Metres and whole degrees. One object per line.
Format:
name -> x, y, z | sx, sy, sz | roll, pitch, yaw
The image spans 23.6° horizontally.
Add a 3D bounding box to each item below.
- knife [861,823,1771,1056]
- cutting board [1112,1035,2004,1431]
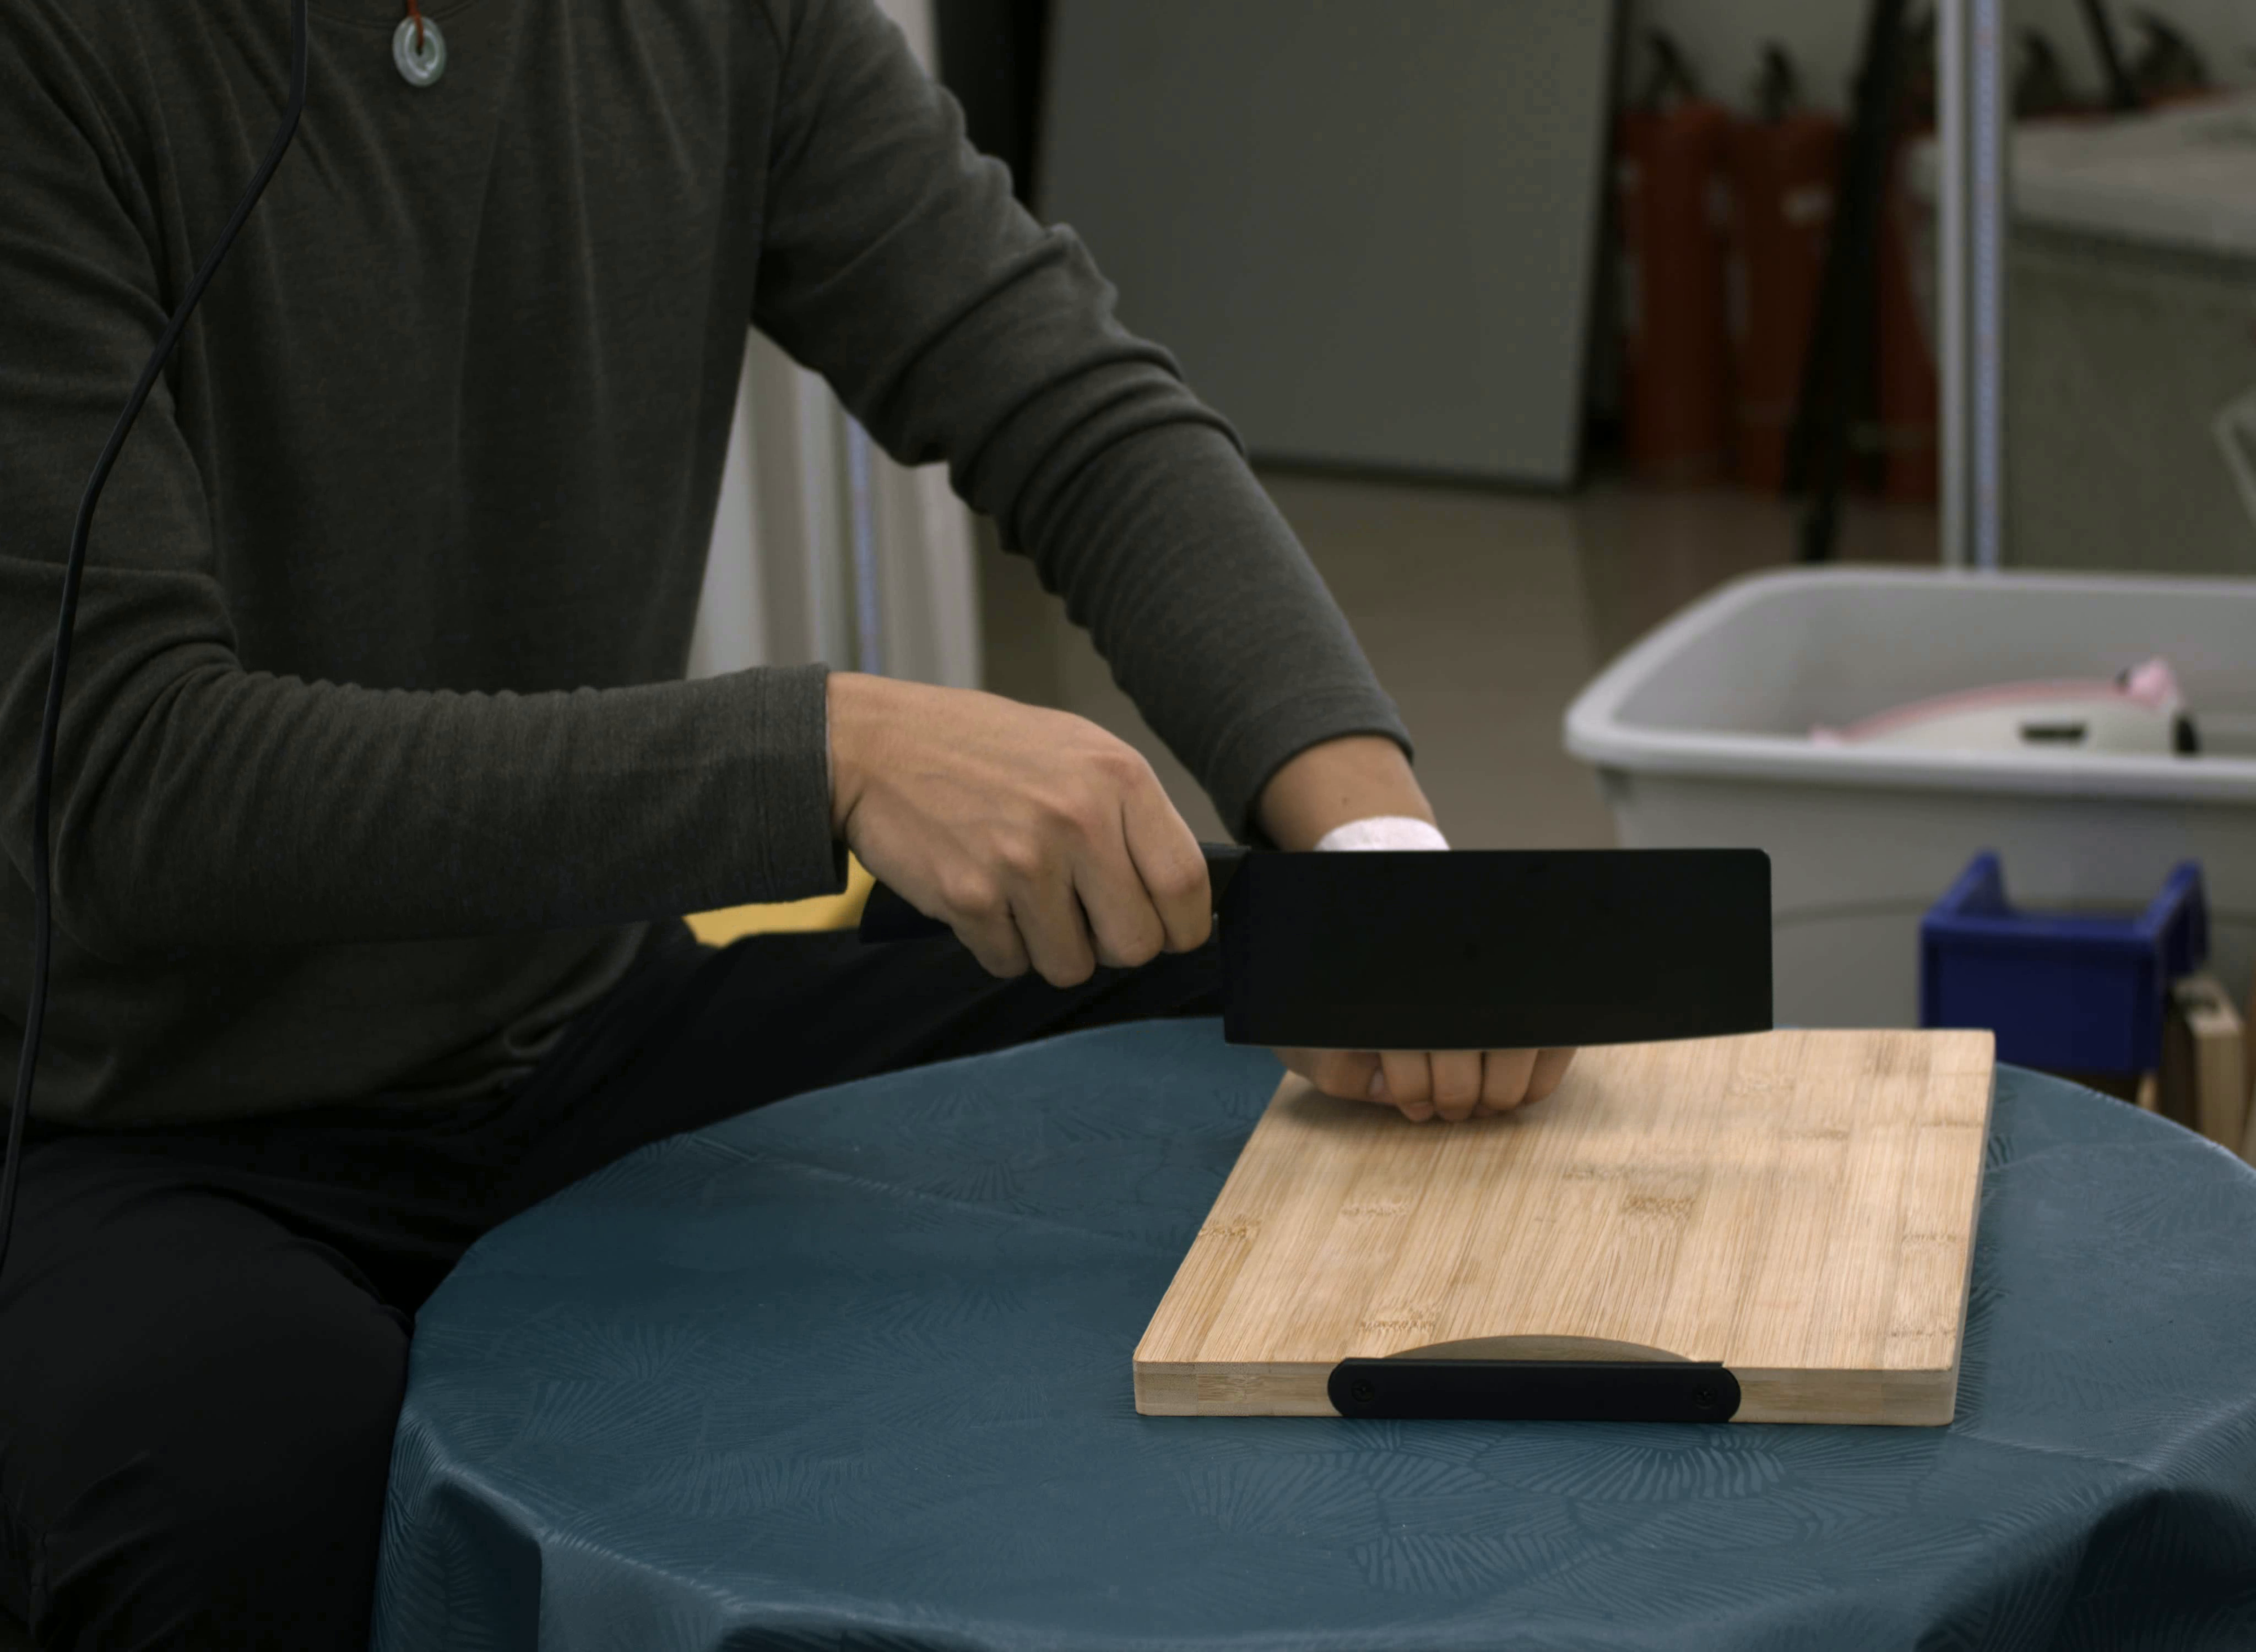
knife -> 0.059, 0.035, 1.740 | 0.300, 0.082, 0.021 | 4, 9, 13
cutting board -> 0.147, 0.123, 1.691 | 0.249, 0.024, 0.347 | -2, 13, 12
